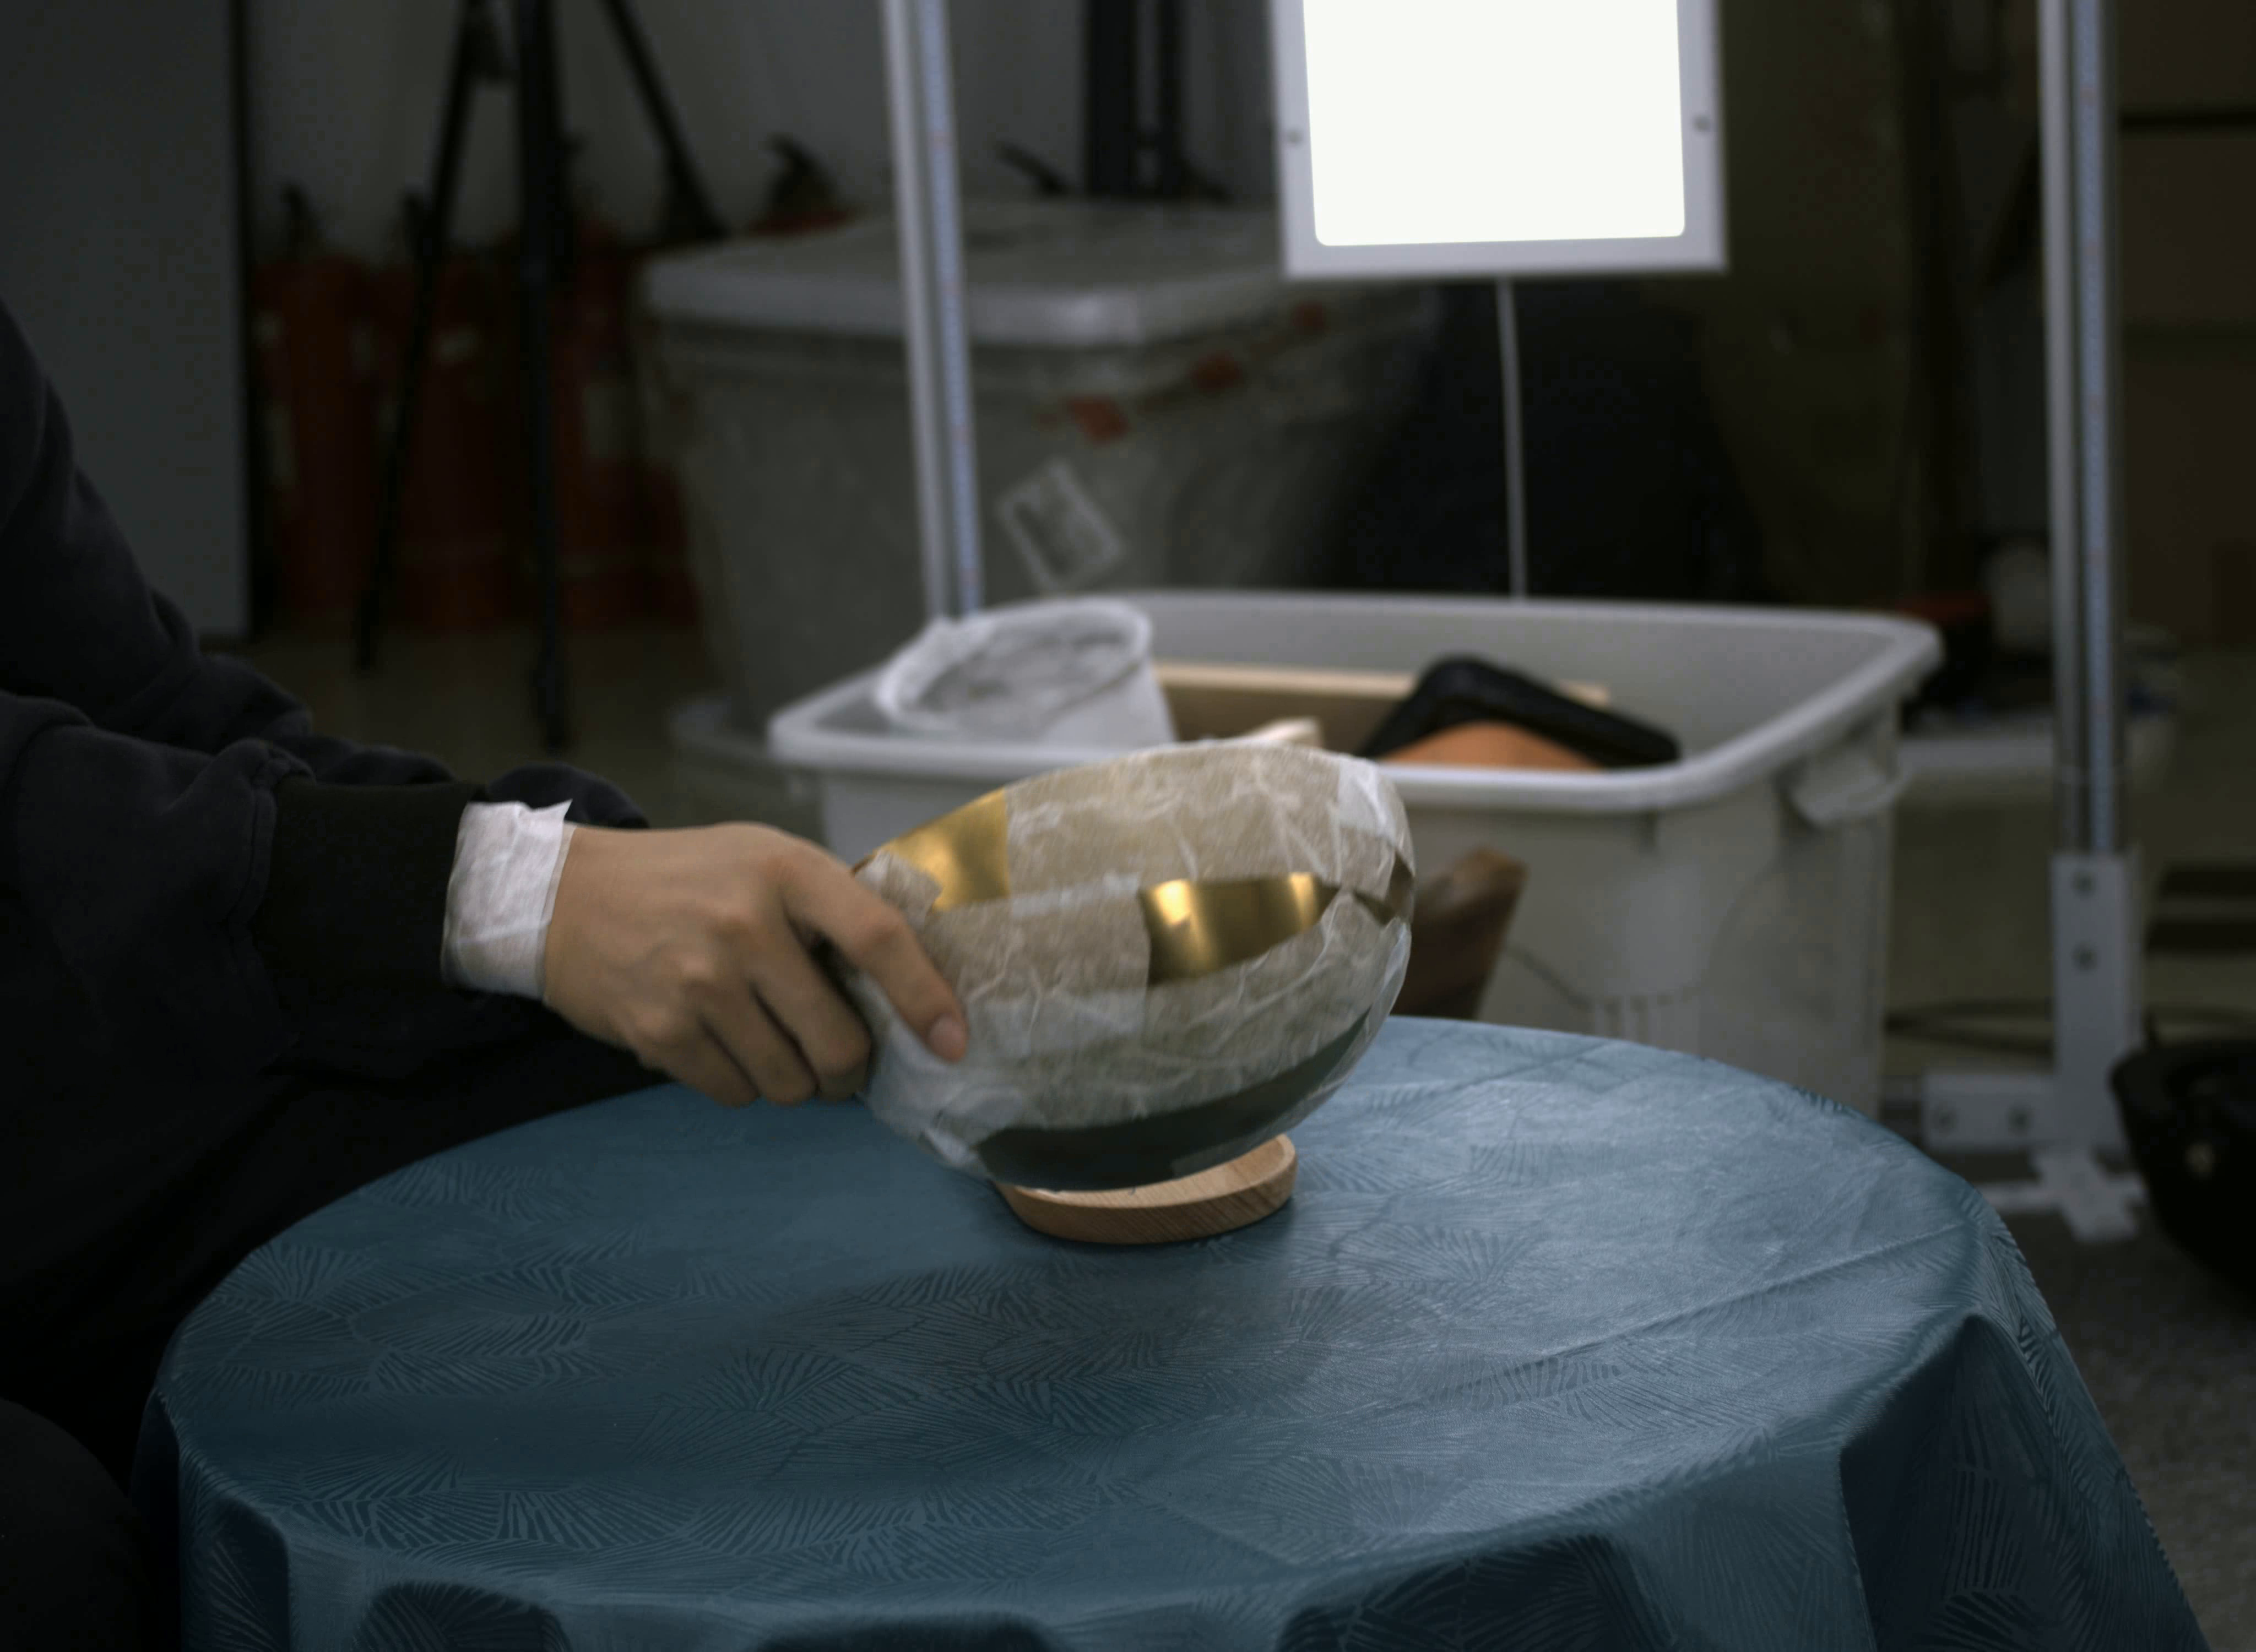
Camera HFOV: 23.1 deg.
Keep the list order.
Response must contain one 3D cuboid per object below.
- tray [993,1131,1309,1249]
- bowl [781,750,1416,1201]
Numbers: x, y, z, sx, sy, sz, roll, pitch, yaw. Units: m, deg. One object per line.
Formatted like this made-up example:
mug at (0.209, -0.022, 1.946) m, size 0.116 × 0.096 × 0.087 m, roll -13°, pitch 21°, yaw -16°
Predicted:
tray at (-0.004, 0.108, 1.942) m, size 0.100 × 0.020 × 0.233 m, roll -10°, pitch 16°, yaw -11°
bowl at (0.001, 0.063, 1.730) m, size 0.213 × 0.095 × 0.215 m, roll -12°, pitch -22°, yaw -6°
